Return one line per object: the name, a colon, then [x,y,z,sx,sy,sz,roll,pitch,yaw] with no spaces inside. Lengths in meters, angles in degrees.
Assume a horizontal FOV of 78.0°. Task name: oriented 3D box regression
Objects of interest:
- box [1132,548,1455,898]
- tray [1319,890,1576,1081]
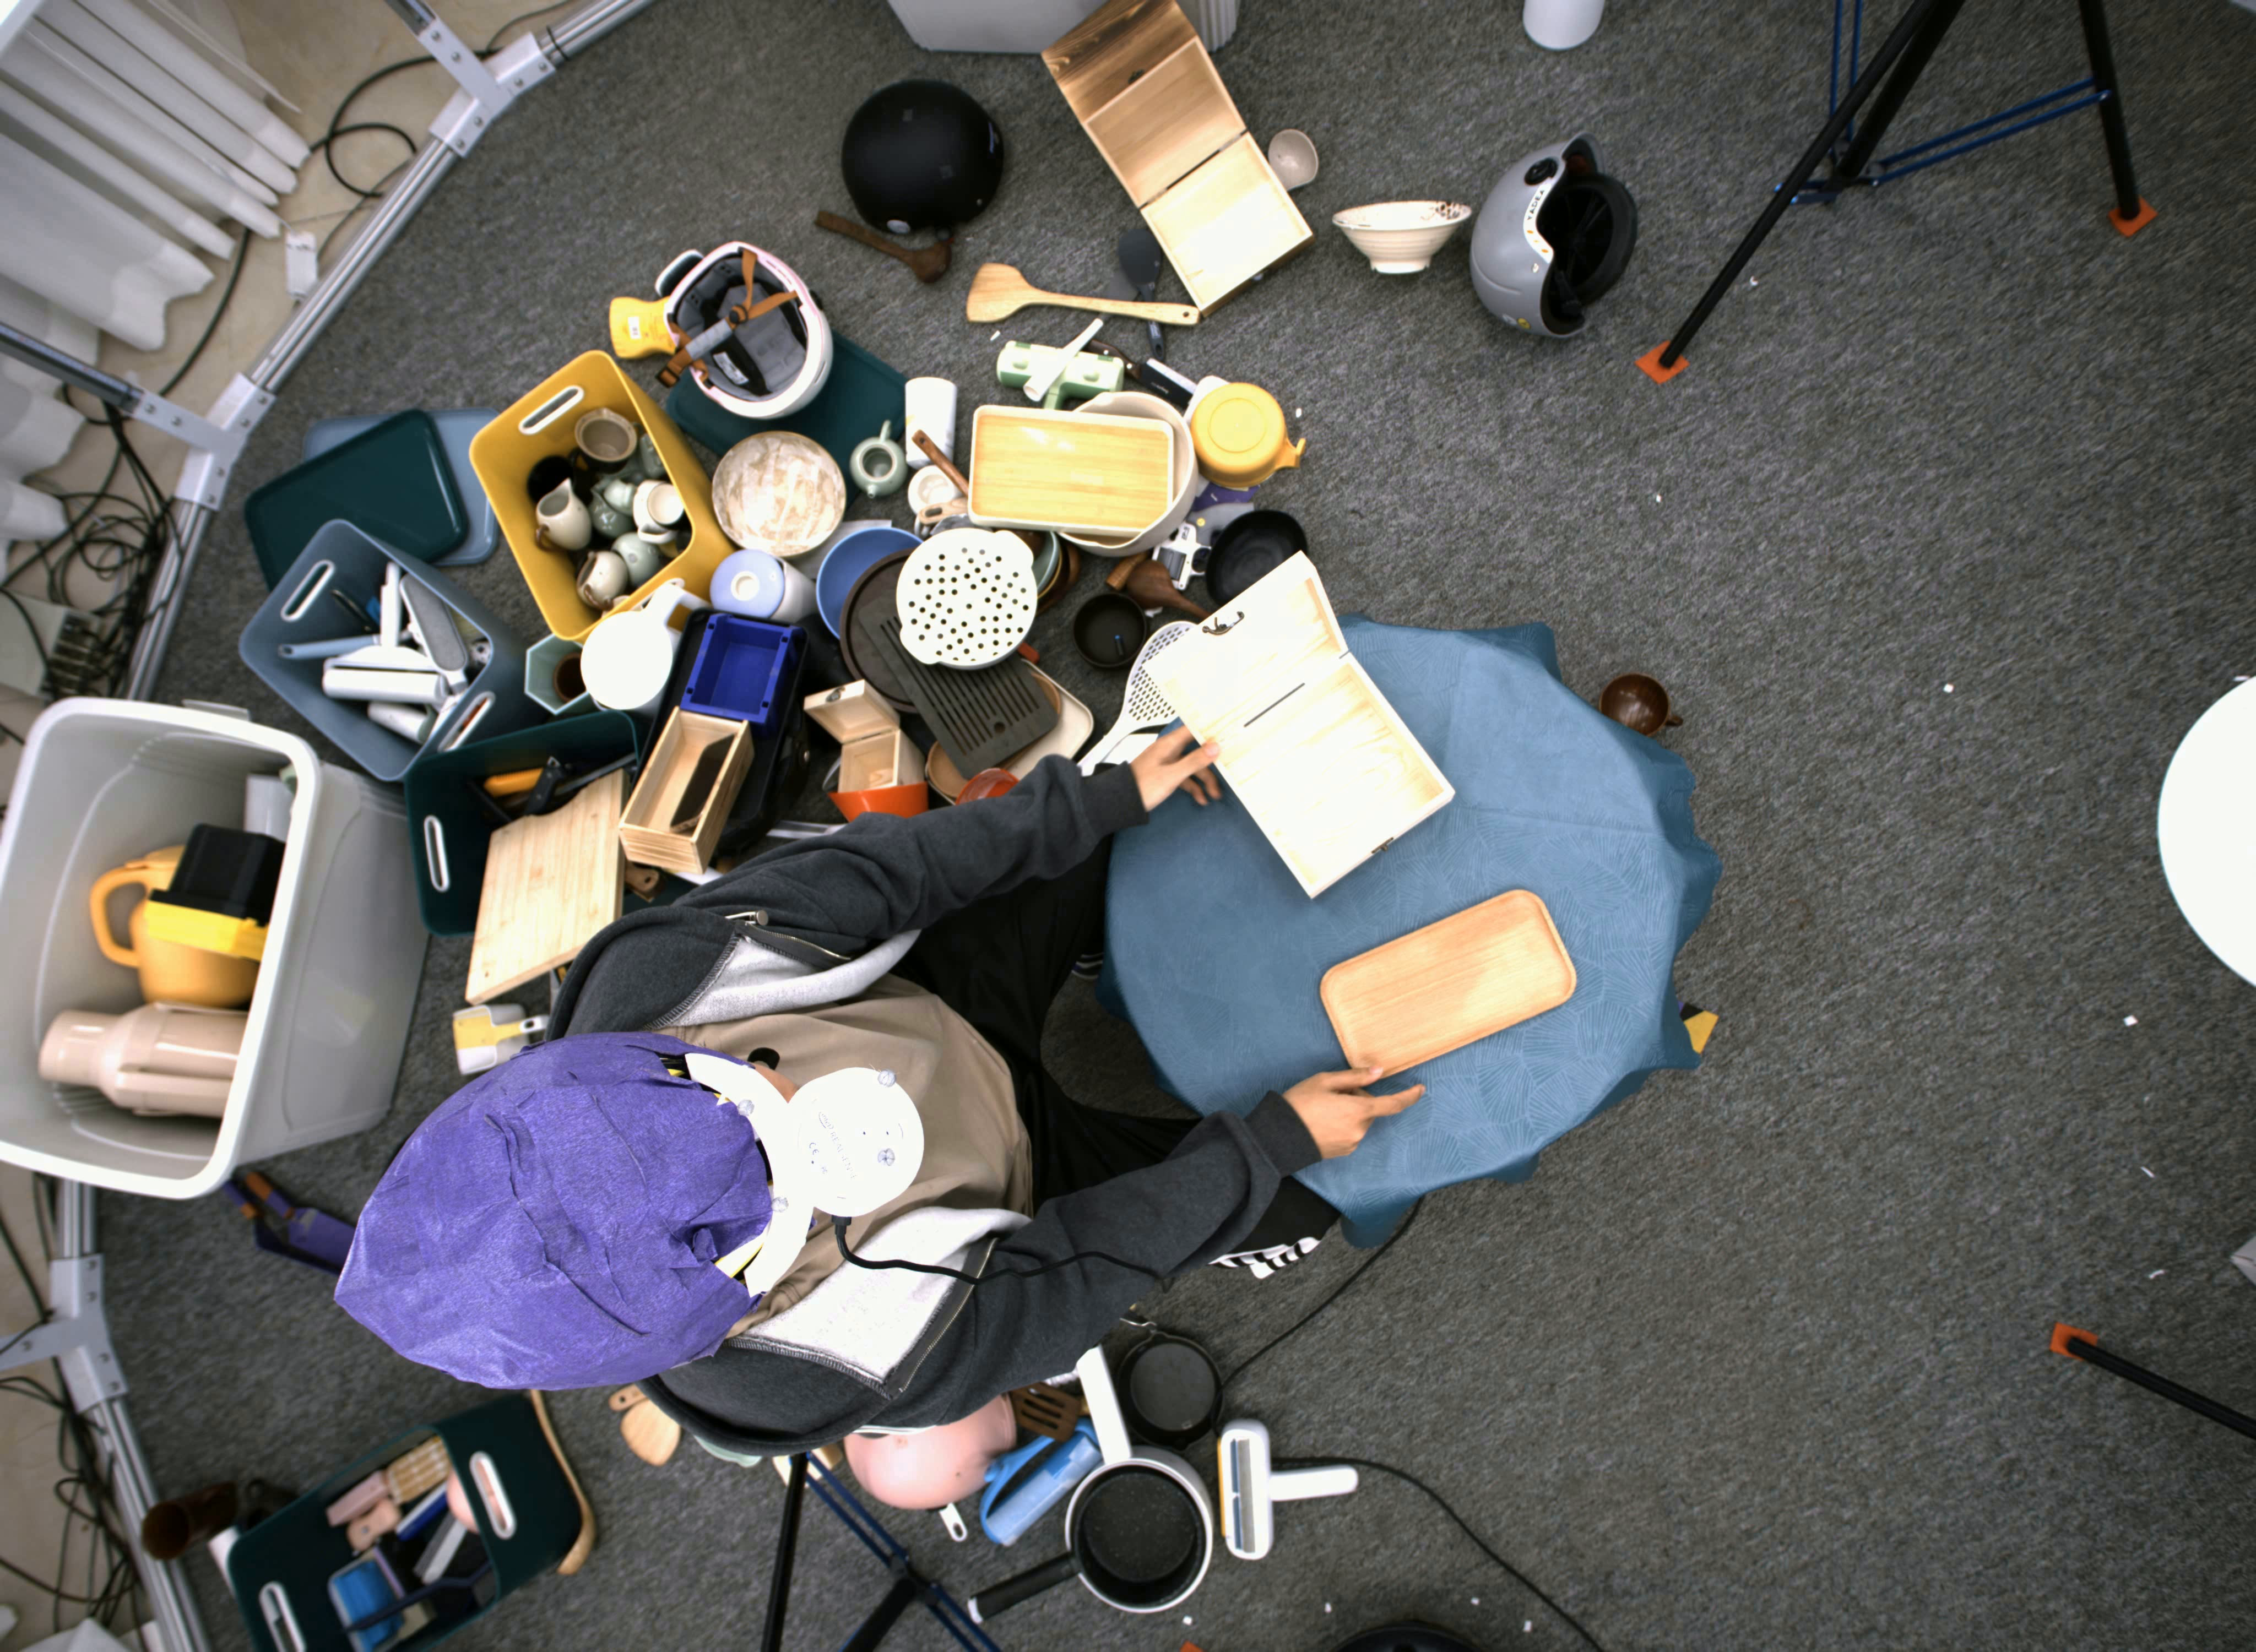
box: [0.175,-0.088,1.362,0.183,0.253,0.263,-37,79,8]
tray: [0.330,0.164,1.434,0.252,0.023,0.129,-24,80,9]
